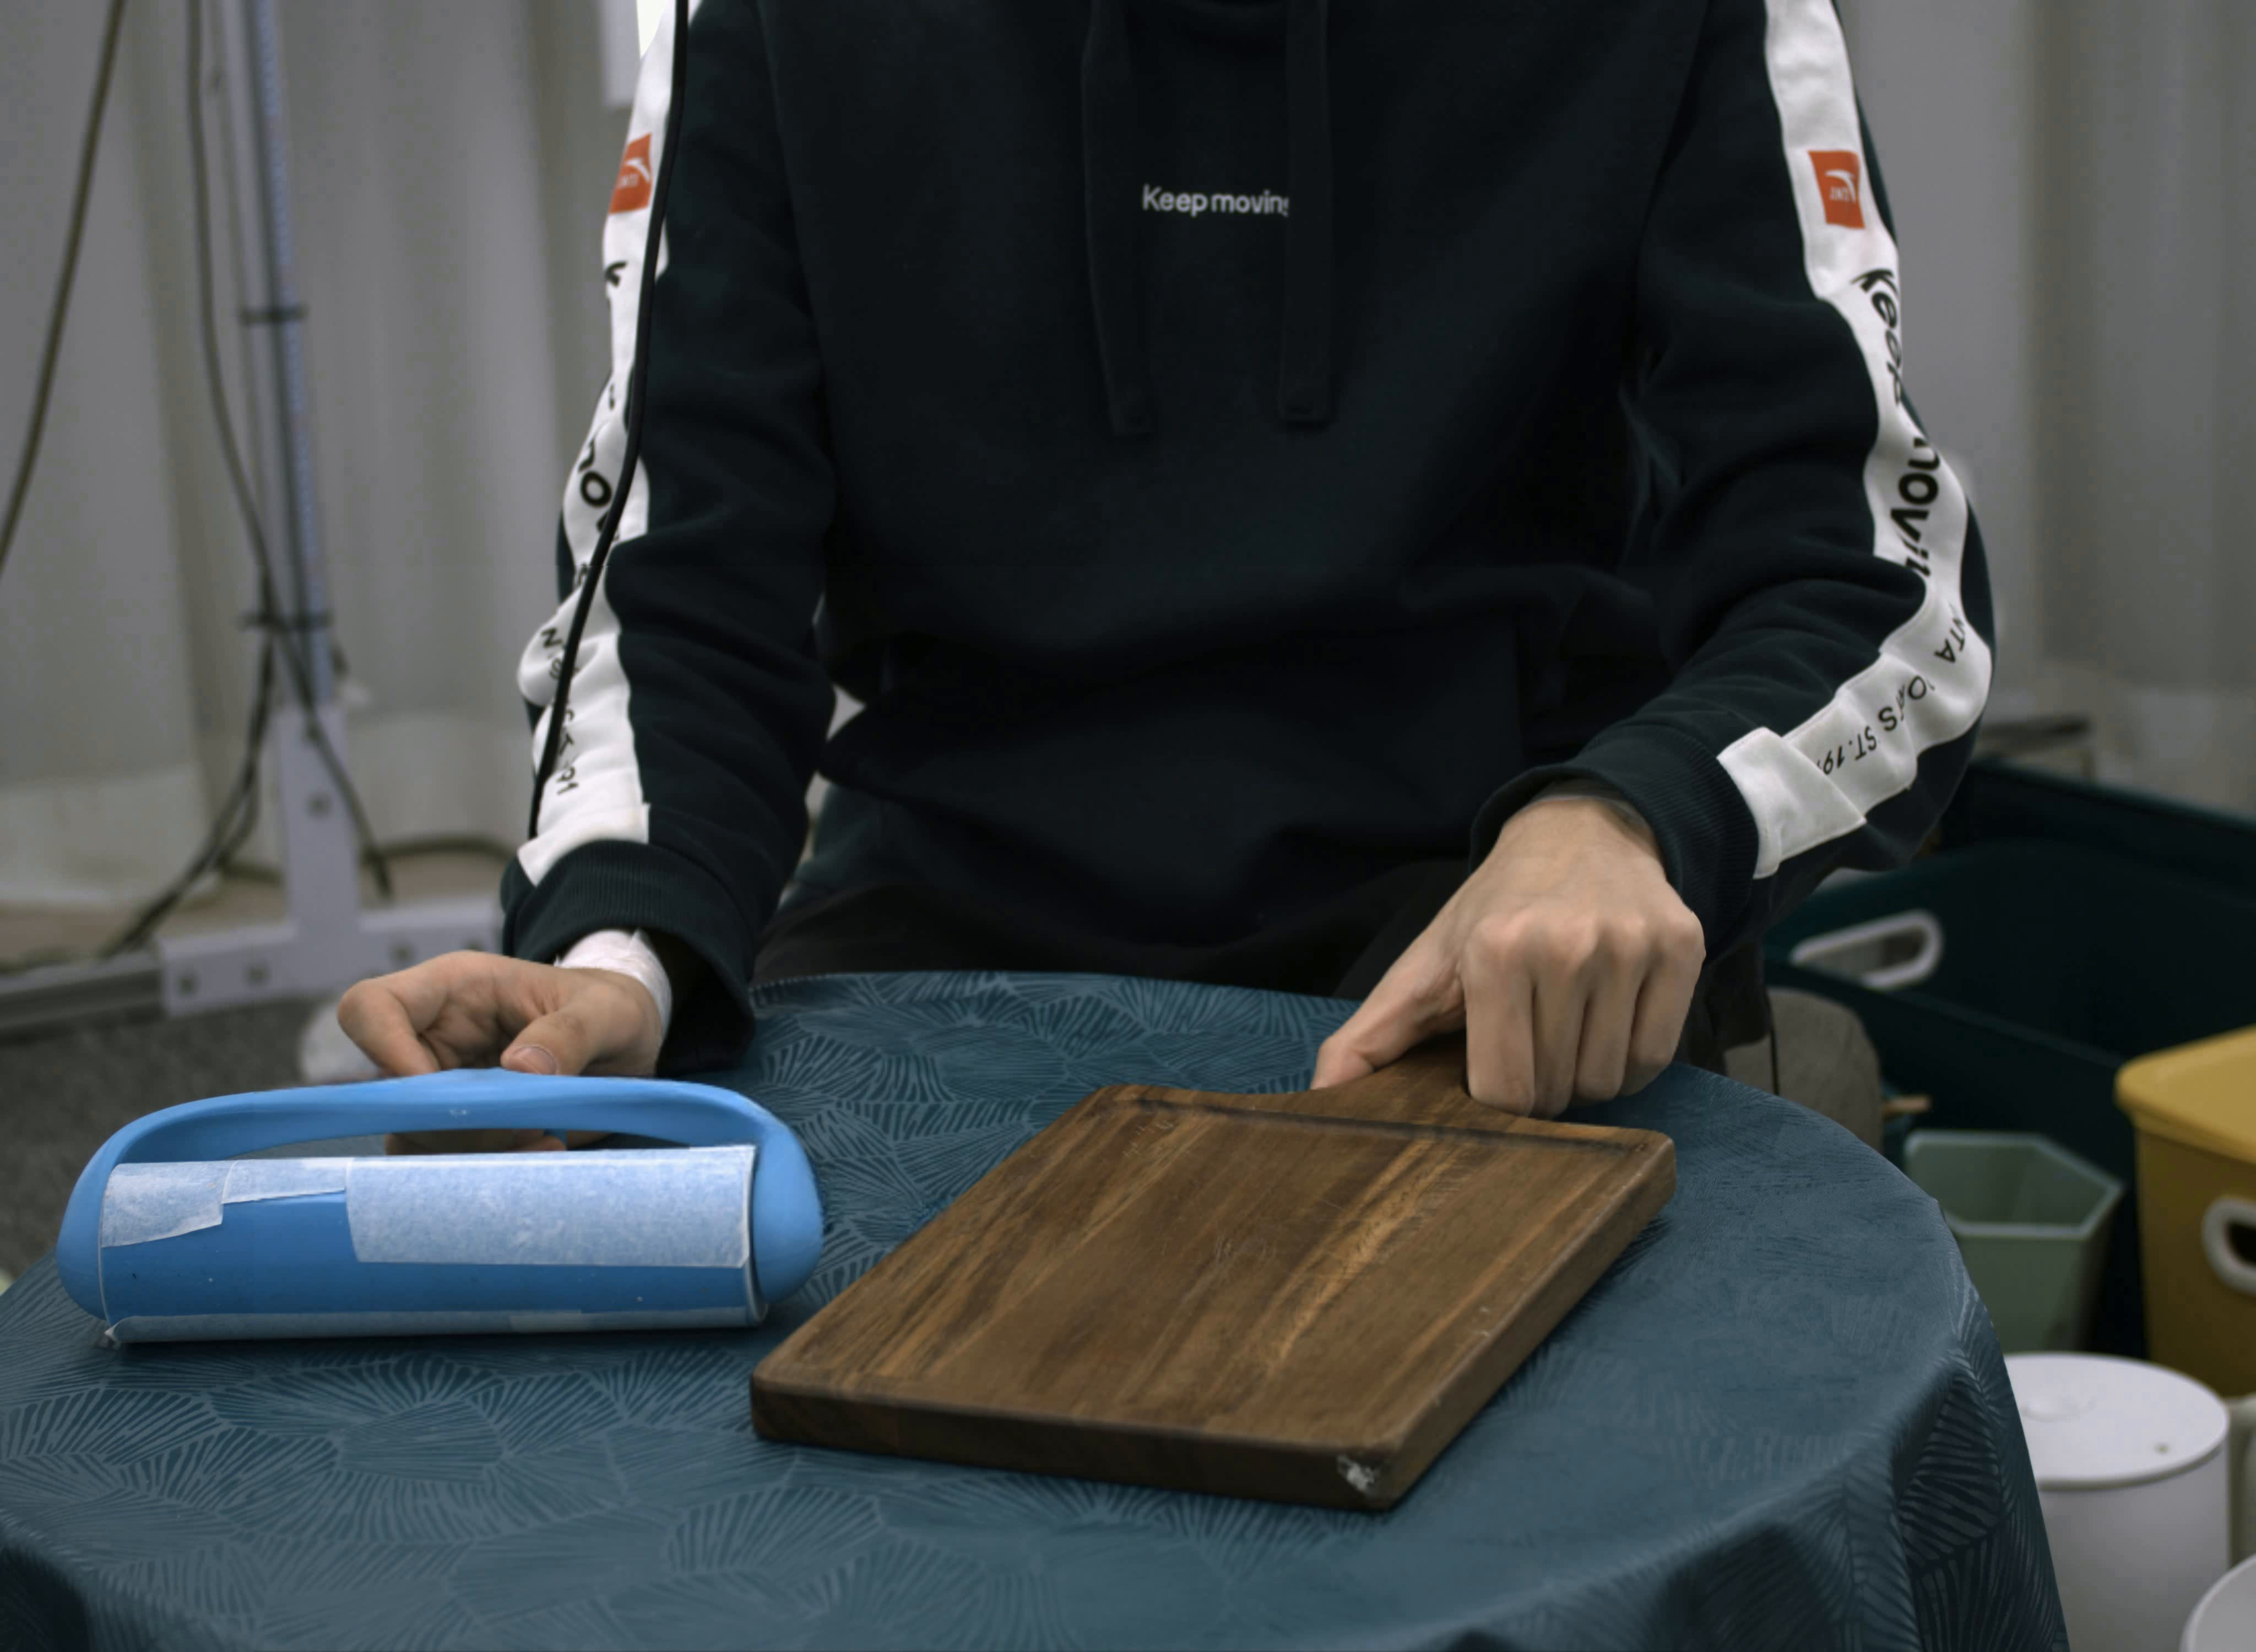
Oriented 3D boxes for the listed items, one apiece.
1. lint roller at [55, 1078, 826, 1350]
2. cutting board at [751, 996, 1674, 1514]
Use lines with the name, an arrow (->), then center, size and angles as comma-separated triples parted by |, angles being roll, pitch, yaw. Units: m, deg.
lint roller -> -0.202, 0.108, 1.672 | 0.228, 0.067, 0.181 | -4, 16, 2
cutting board -> 0.049, 0.117, 1.631 | 0.201, 0.023, 0.353 | 4, 19, 23
